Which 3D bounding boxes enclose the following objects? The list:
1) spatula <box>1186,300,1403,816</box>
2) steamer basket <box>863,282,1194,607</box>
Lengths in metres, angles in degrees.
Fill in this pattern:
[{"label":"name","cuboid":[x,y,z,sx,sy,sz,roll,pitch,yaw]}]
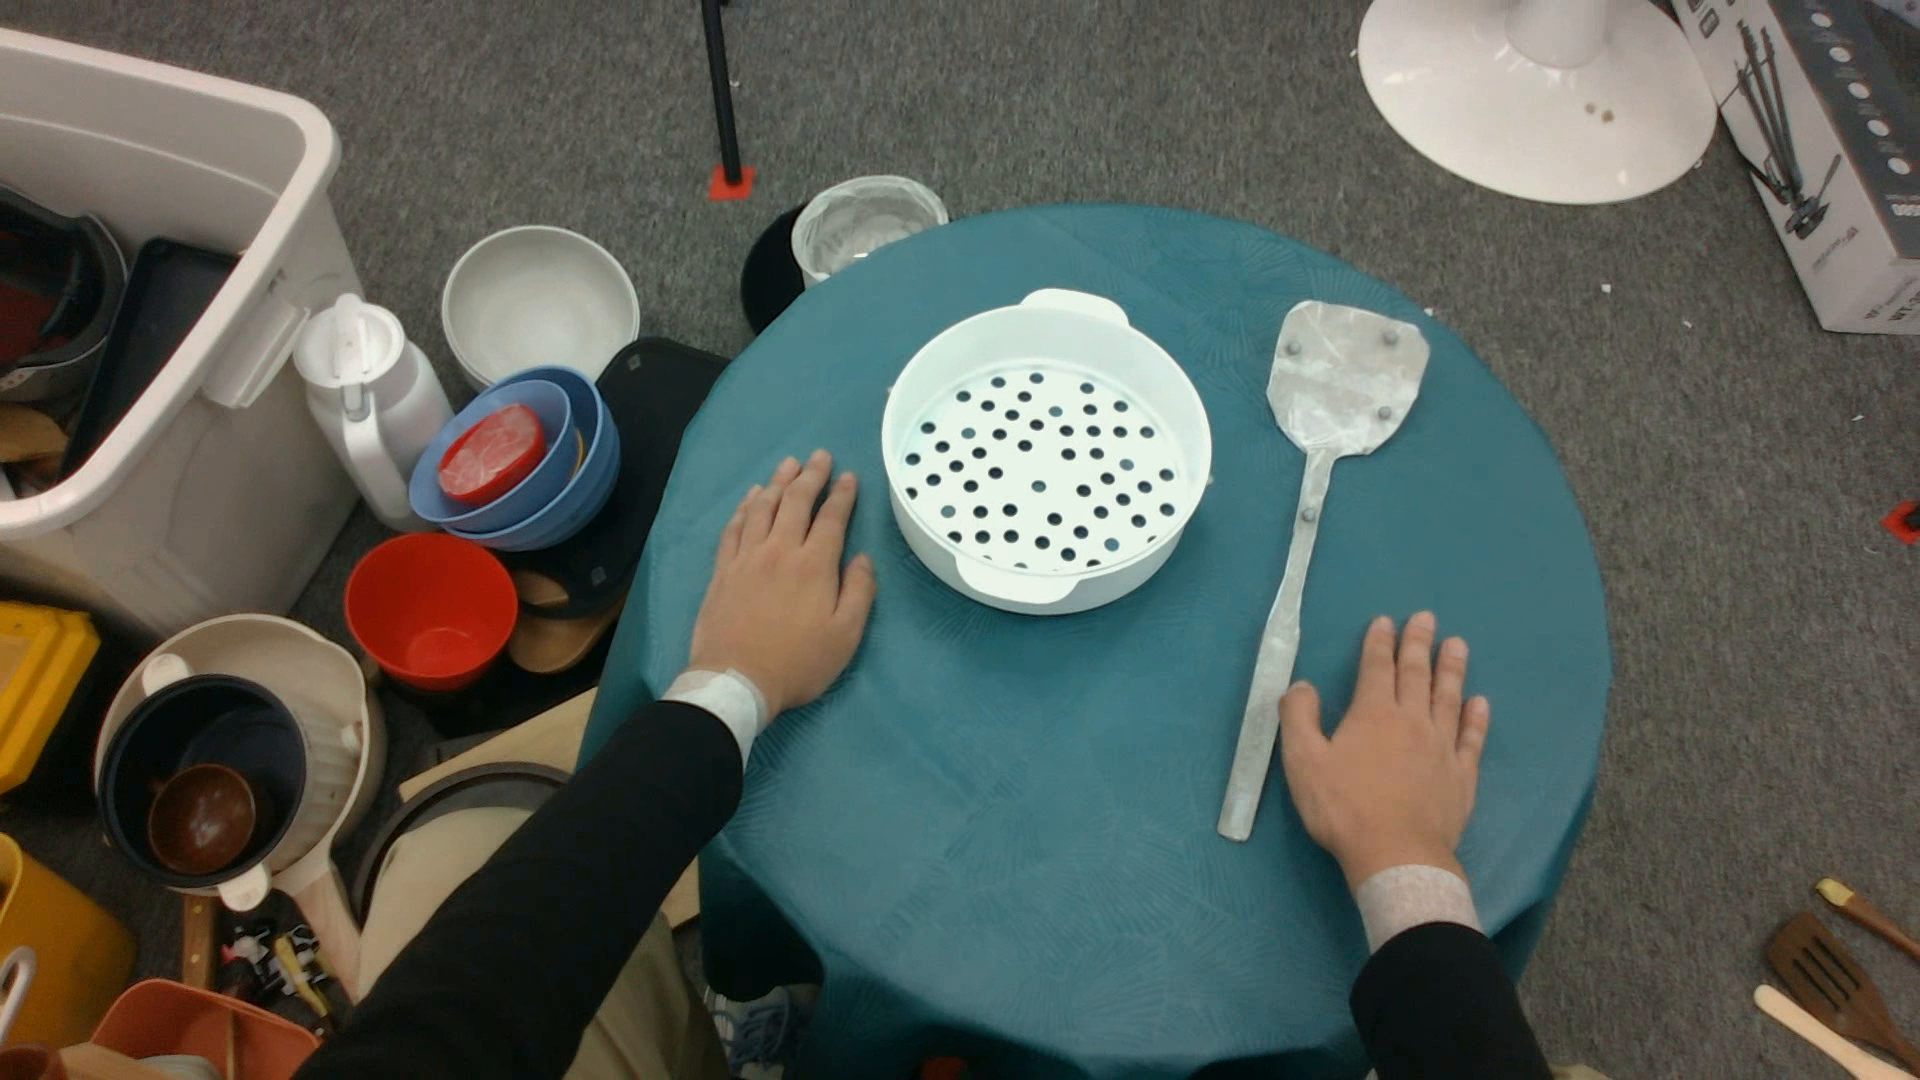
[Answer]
[{"label":"spatula","cuboid":[0.198,0.002,0.858,0.098,0.044,0.366,18,60,6]},{"label":"steamer basket","cuboid":[0.041,-0.054,0.863,0.202,0.069,0.231,12,61,5]}]
